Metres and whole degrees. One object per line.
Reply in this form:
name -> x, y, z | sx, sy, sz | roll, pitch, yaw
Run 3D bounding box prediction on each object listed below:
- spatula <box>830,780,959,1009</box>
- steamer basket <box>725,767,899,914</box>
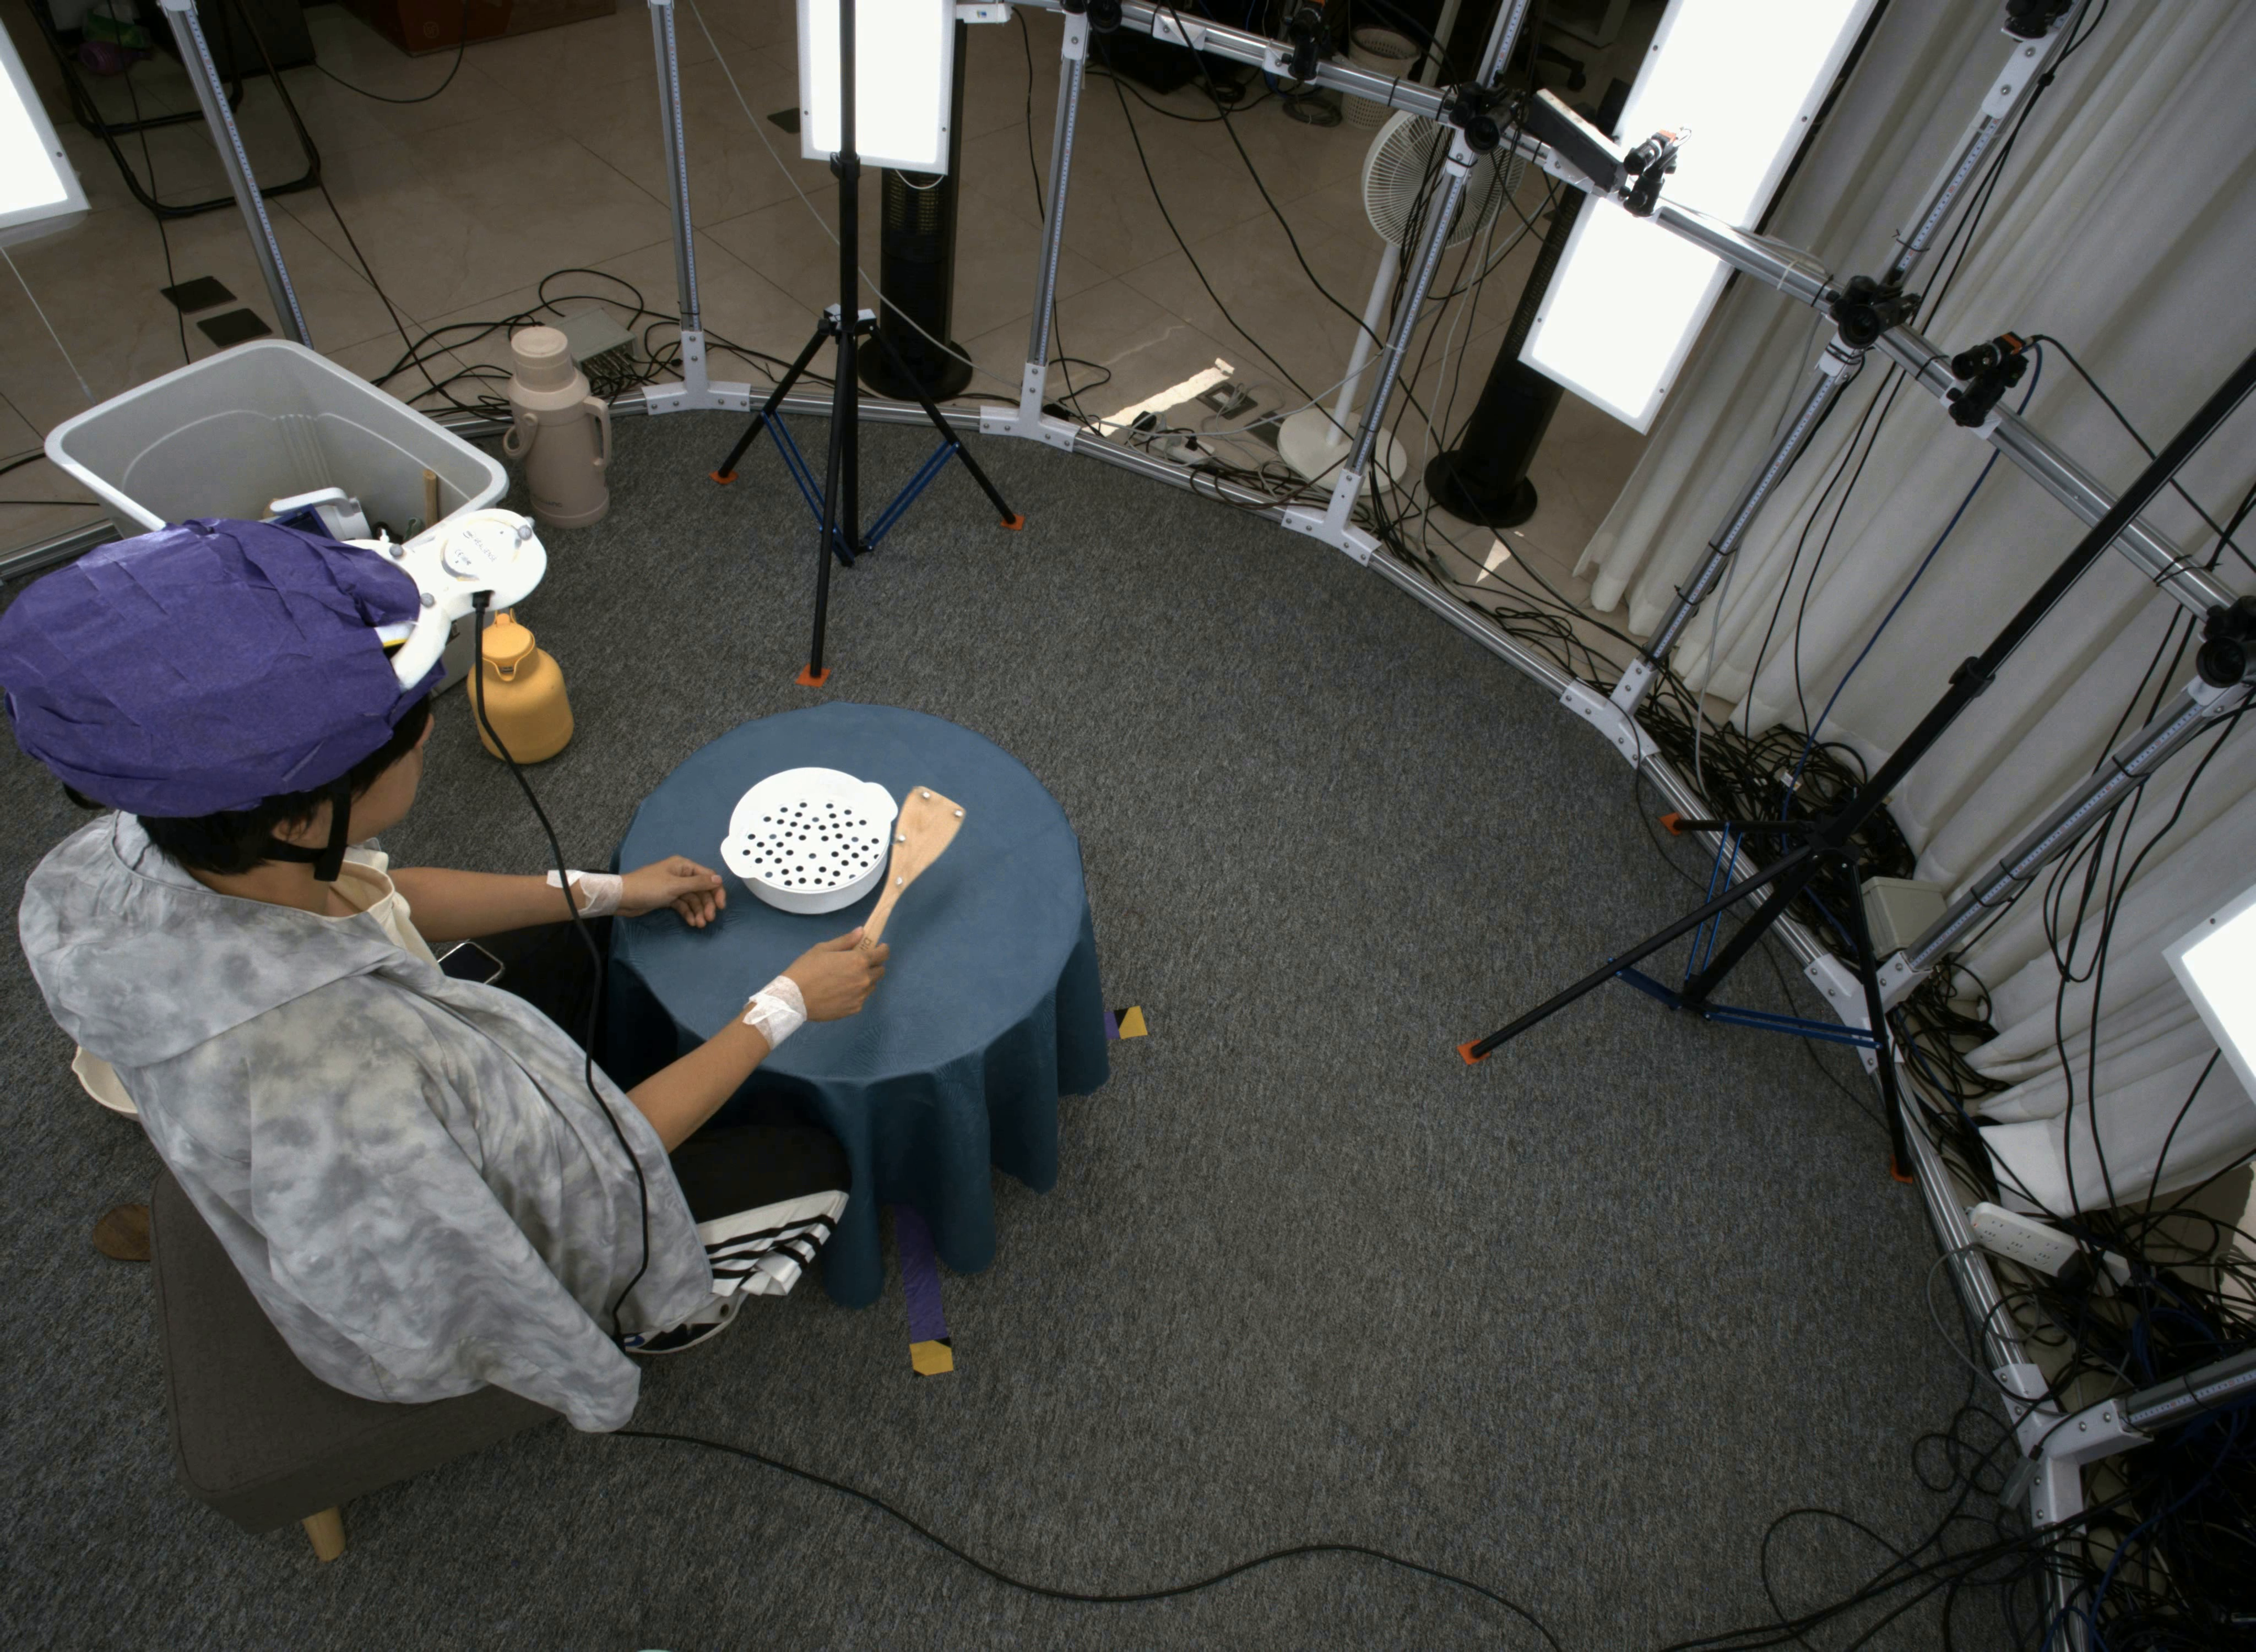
spatula -> -0.288, 0.077, 1.568 | 0.082, 0.016, 0.324 | 41, 48, -27
steamer basket -> -0.402, 0.018, 1.673 | 0.232, 0.071, 0.196 | -24, 60, -29
